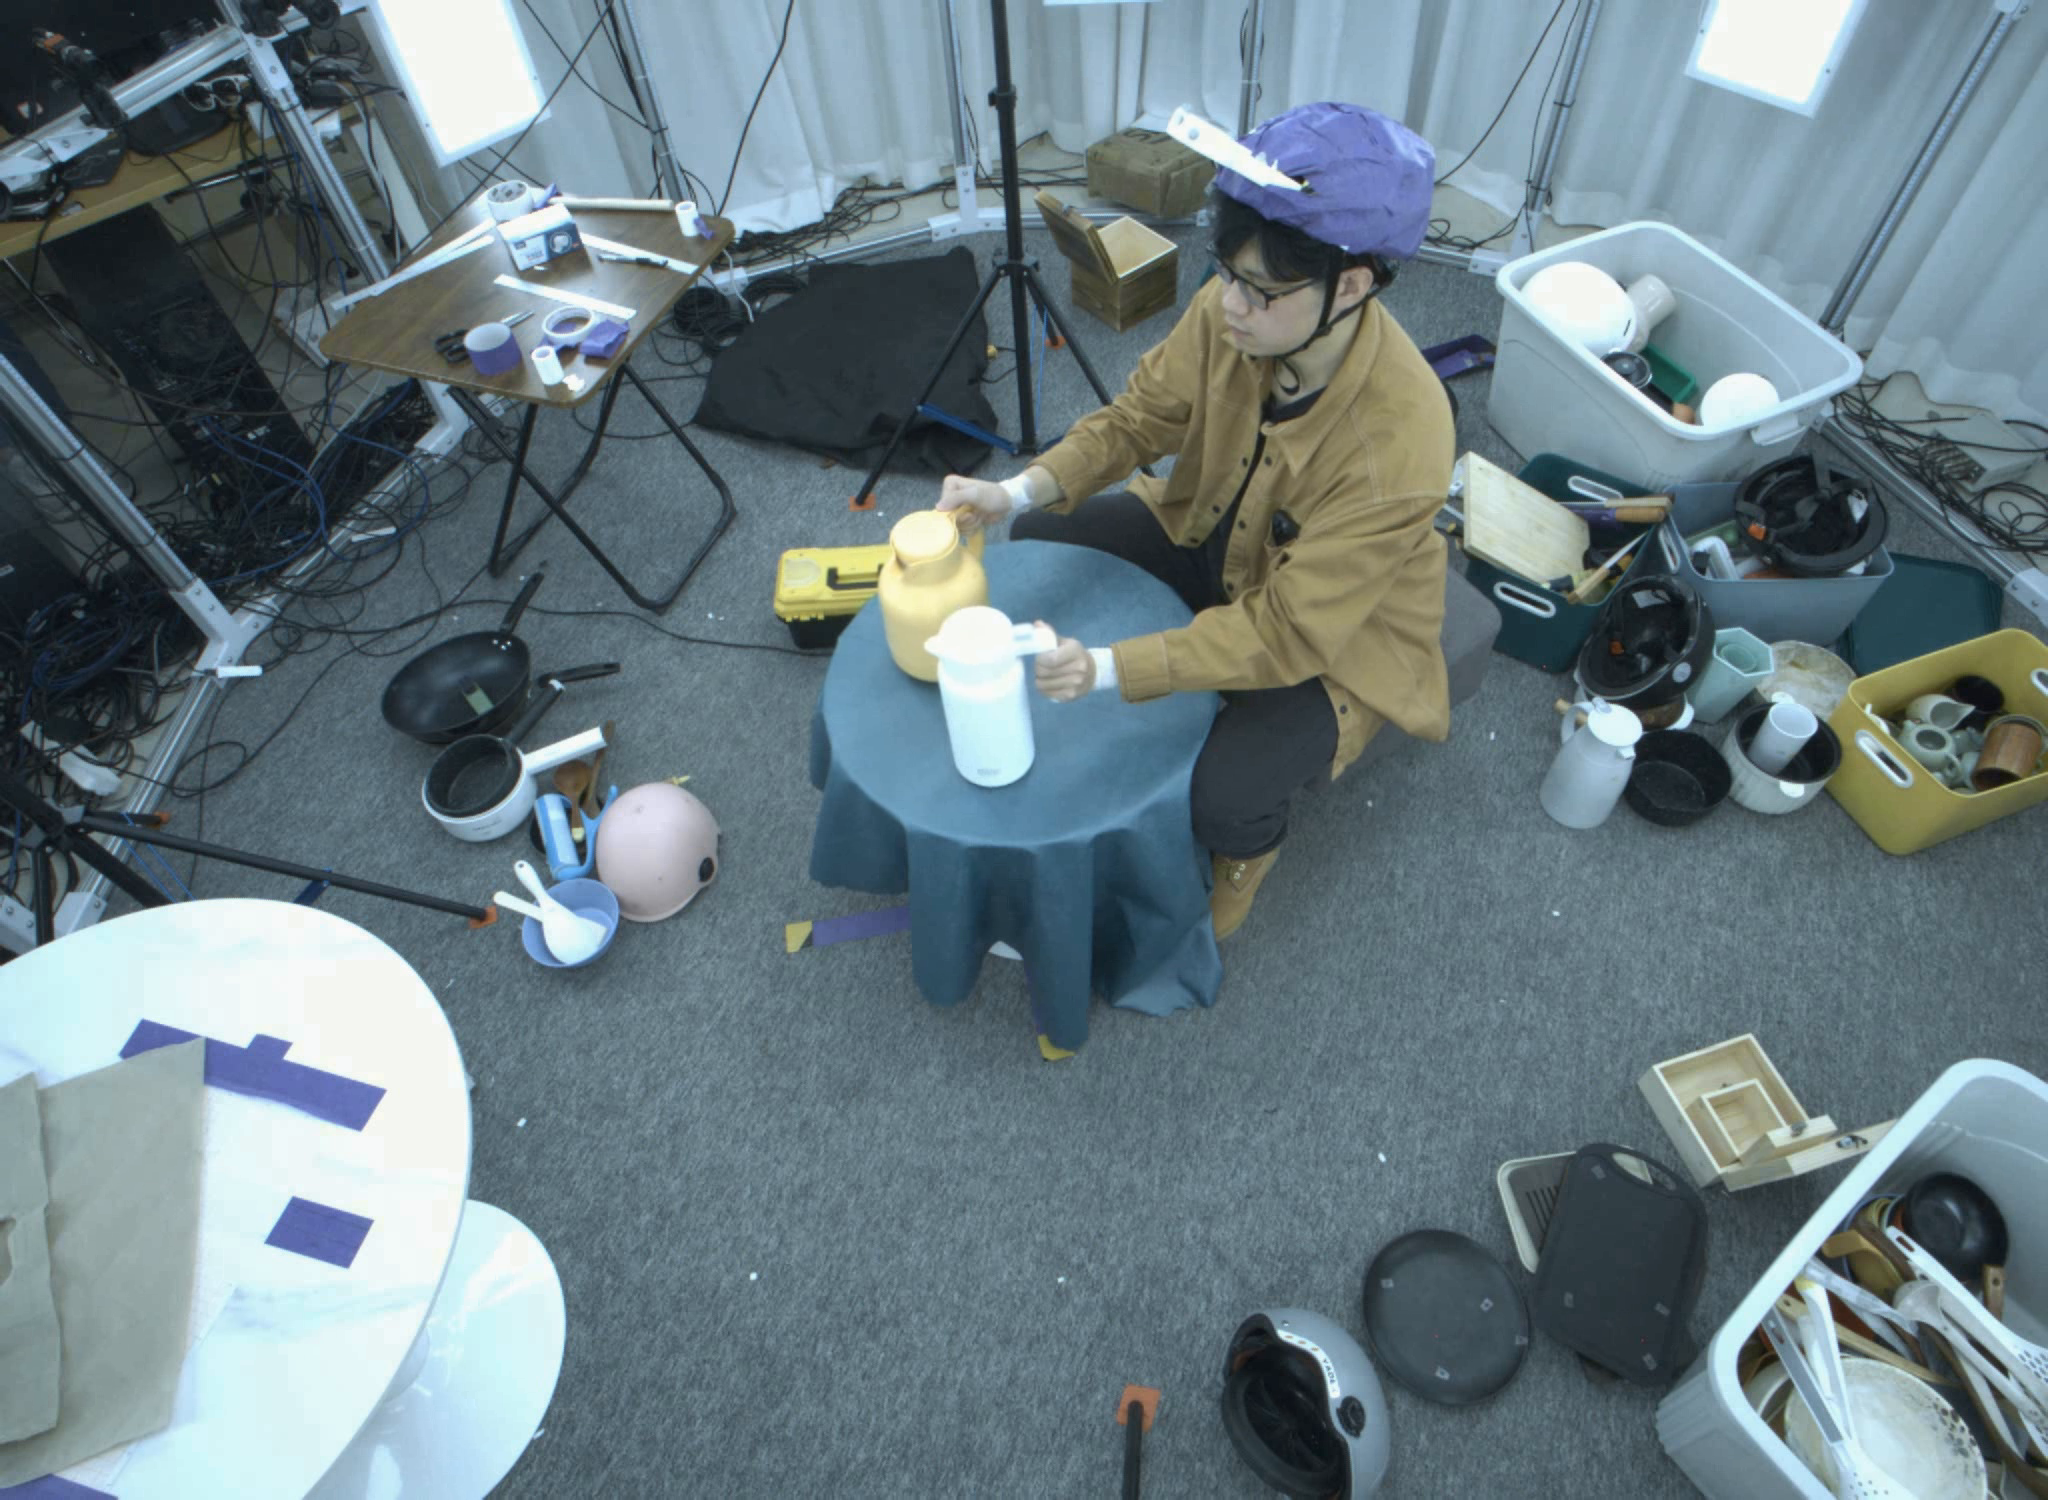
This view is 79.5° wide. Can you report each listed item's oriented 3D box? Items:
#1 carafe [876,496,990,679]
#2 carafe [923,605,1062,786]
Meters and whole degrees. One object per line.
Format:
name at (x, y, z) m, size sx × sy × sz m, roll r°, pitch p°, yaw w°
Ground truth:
carafe at (-0.124, -0.245, 1.799) m, size 0.161 × 0.263 × 0.203 m, roll 28°, pitch 63°, yaw 18°
carafe at (-0.036, -0.073, 1.670) m, size 0.173 × 0.272 × 0.122 m, roll -8°, pitch 52°, yaw -2°
